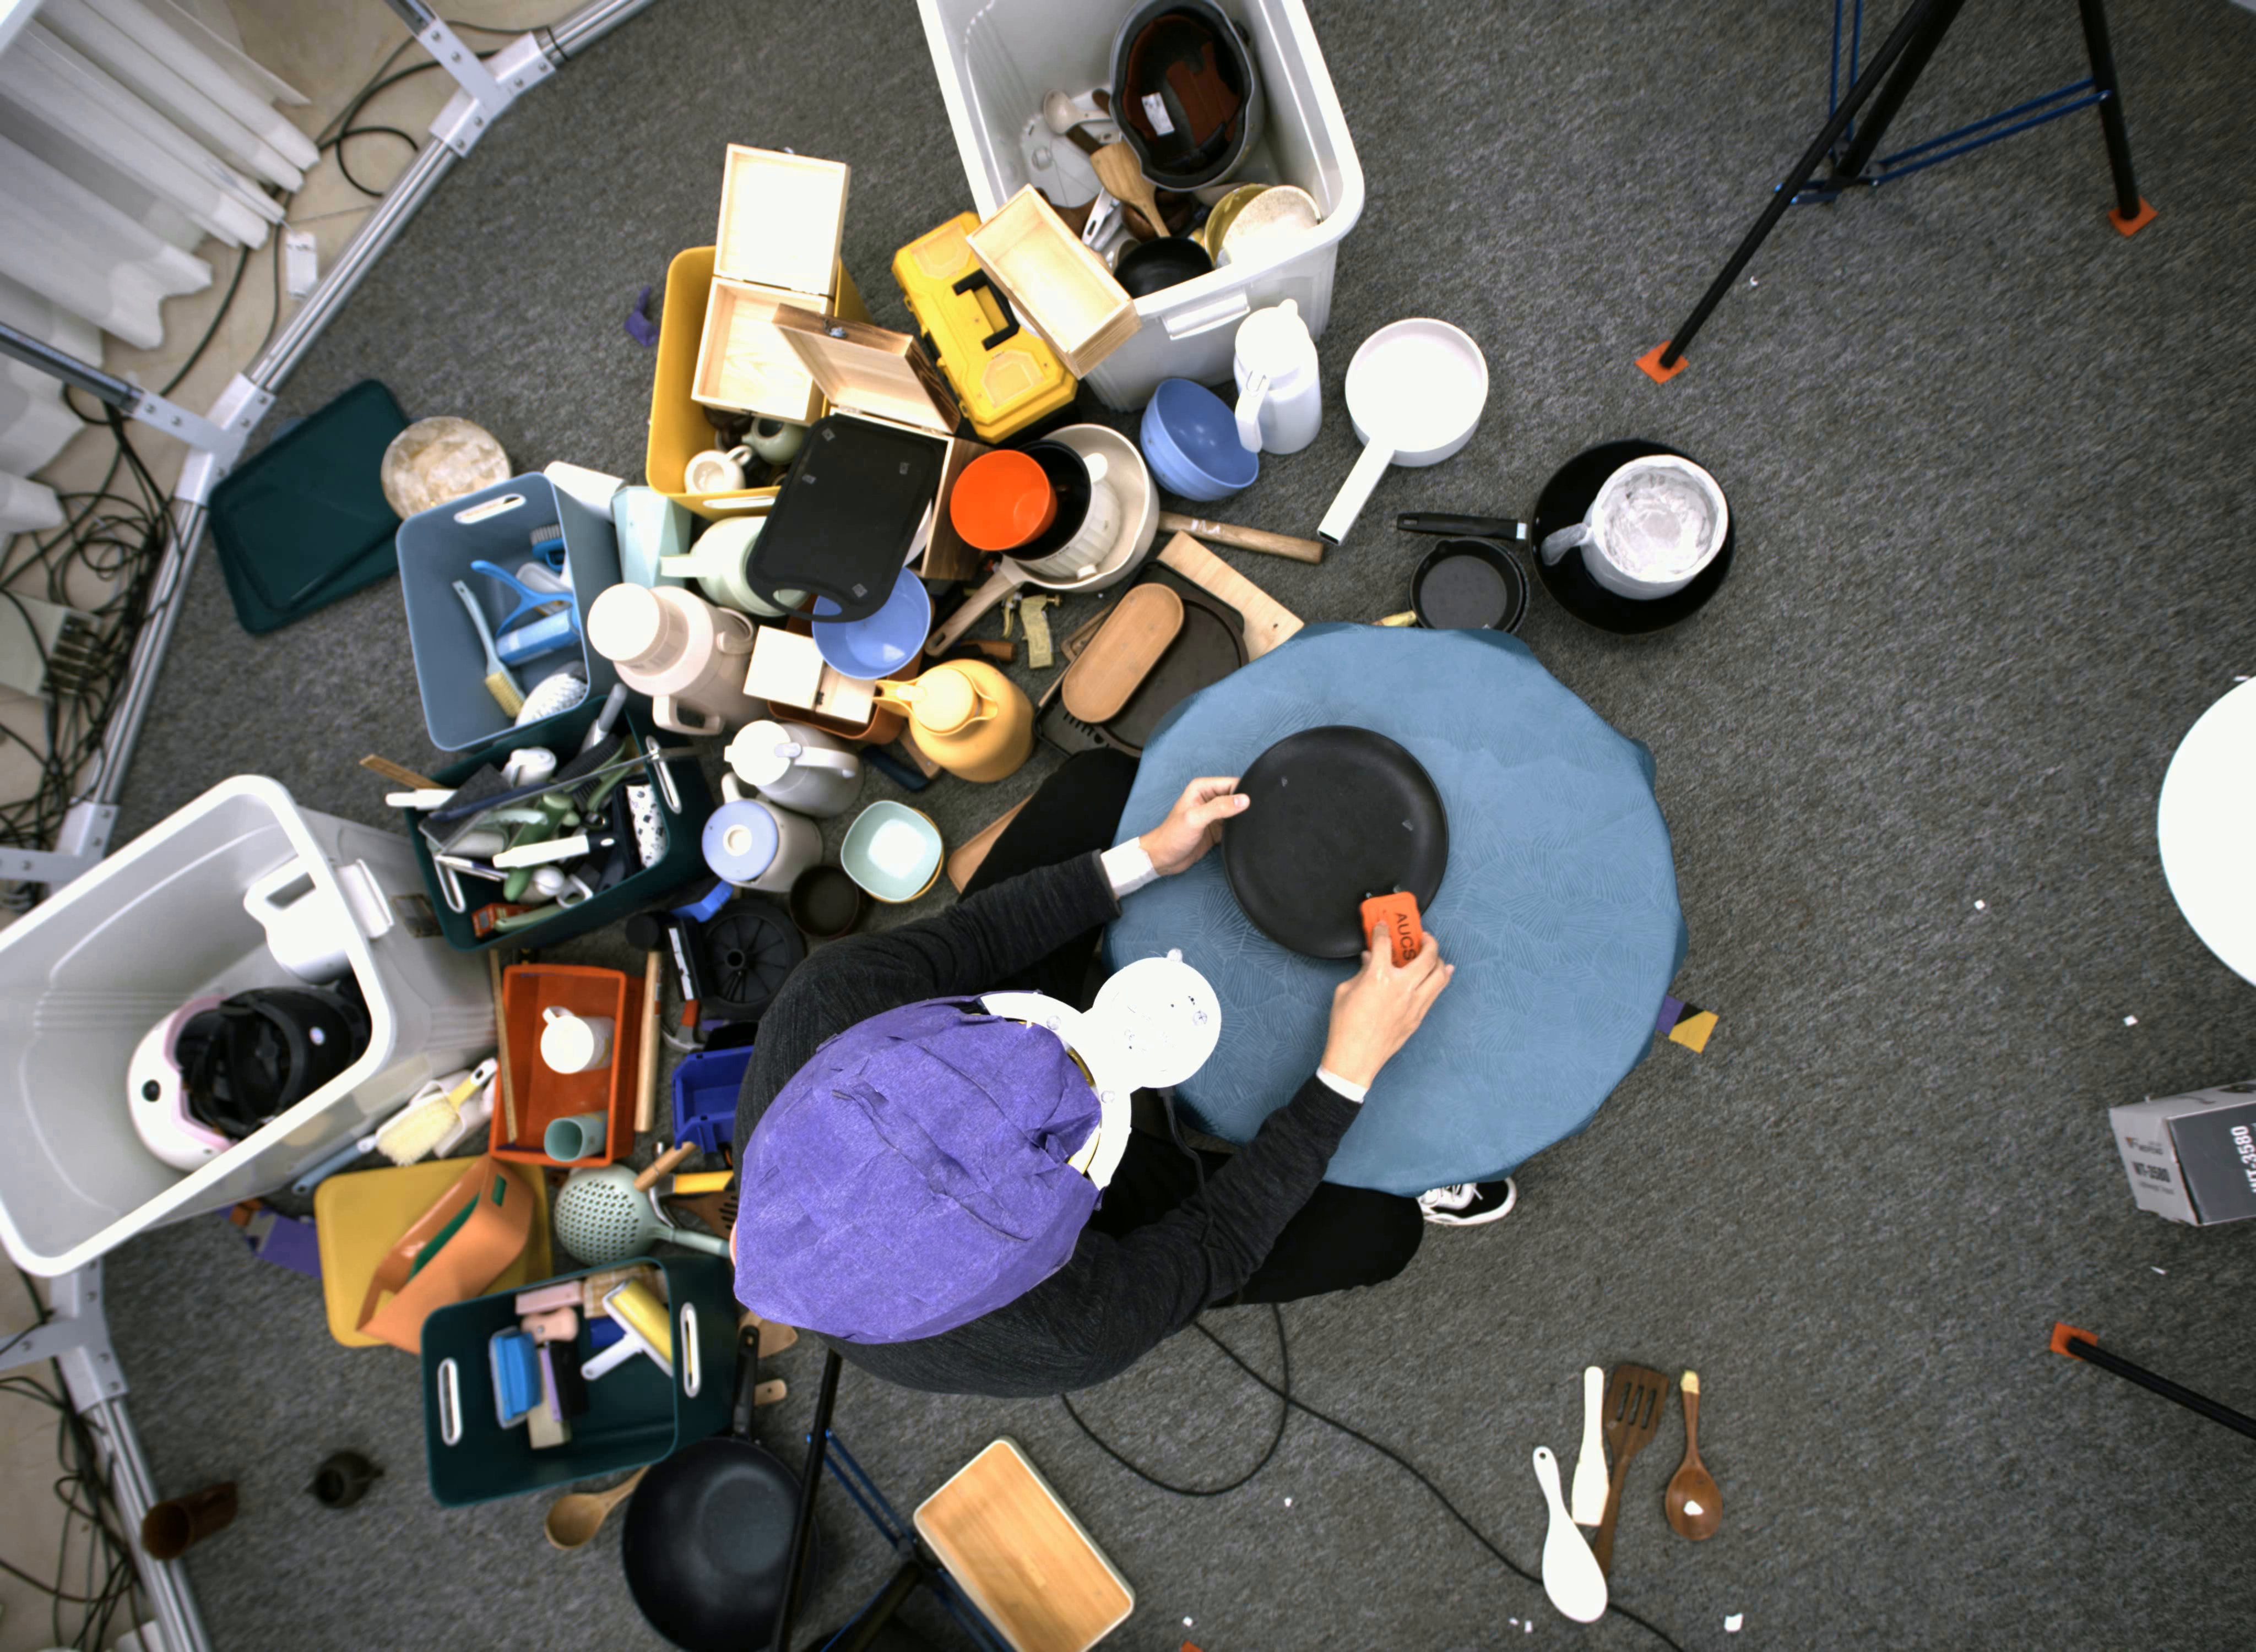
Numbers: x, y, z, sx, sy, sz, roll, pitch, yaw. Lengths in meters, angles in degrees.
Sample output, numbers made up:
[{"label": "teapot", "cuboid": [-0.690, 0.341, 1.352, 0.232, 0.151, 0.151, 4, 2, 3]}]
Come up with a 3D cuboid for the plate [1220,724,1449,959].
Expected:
[{"label": "plate", "cuboid": [0.213, 0.015, 1.432, 0.244, 0.023, 0.245, -1, 97, -6]}]

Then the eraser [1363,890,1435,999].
[{"label": "eraser", "cuboid": [0.280, 0.121, 1.428, 0.059, 0.023, 0.107, -11, 87, 8]}]
